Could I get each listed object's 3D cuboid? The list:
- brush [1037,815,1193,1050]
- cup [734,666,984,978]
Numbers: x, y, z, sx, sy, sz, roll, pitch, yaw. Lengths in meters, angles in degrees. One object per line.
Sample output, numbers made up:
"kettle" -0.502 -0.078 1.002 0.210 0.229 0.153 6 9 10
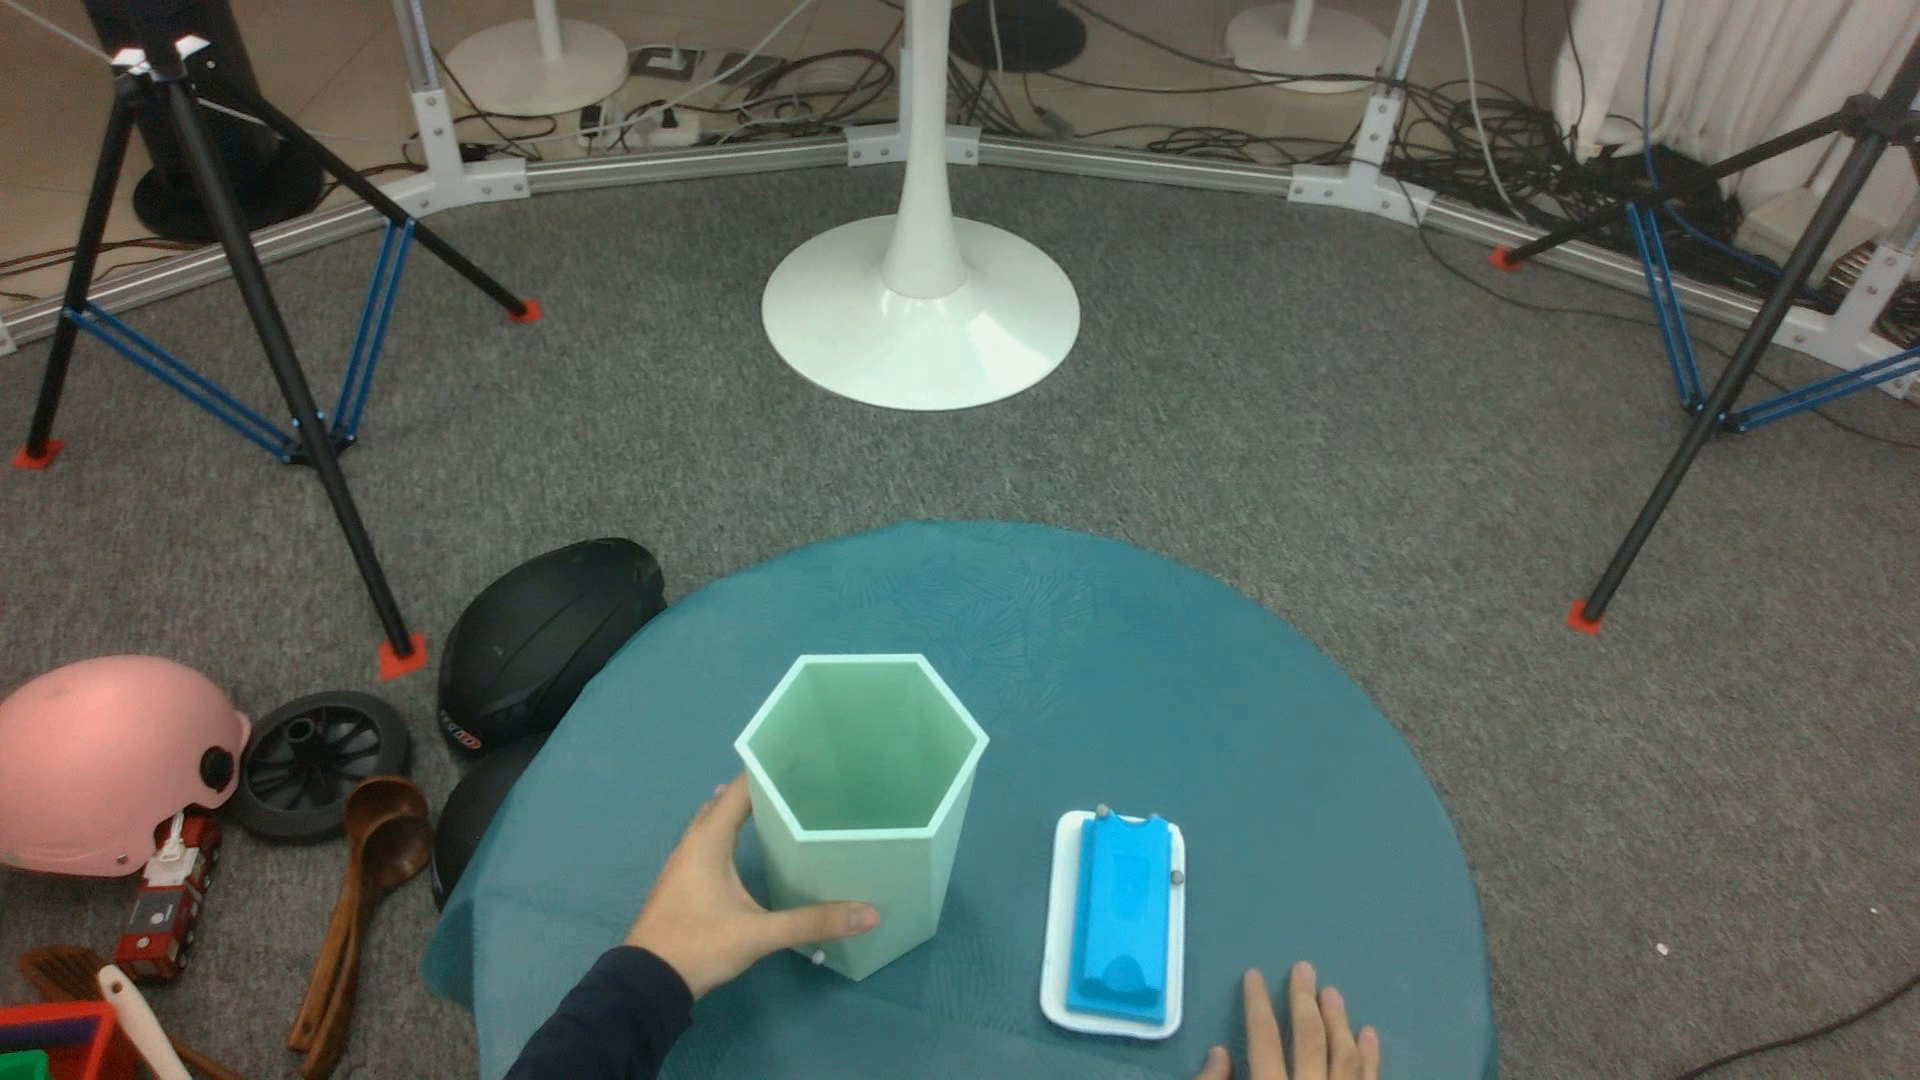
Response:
"brush" 0.094 0.220 0.803 0.084 0.055 0.145 7 44 7
"cup" -0.057 0.164 0.777 0.131 0.162 0.115 -2 50 -6
